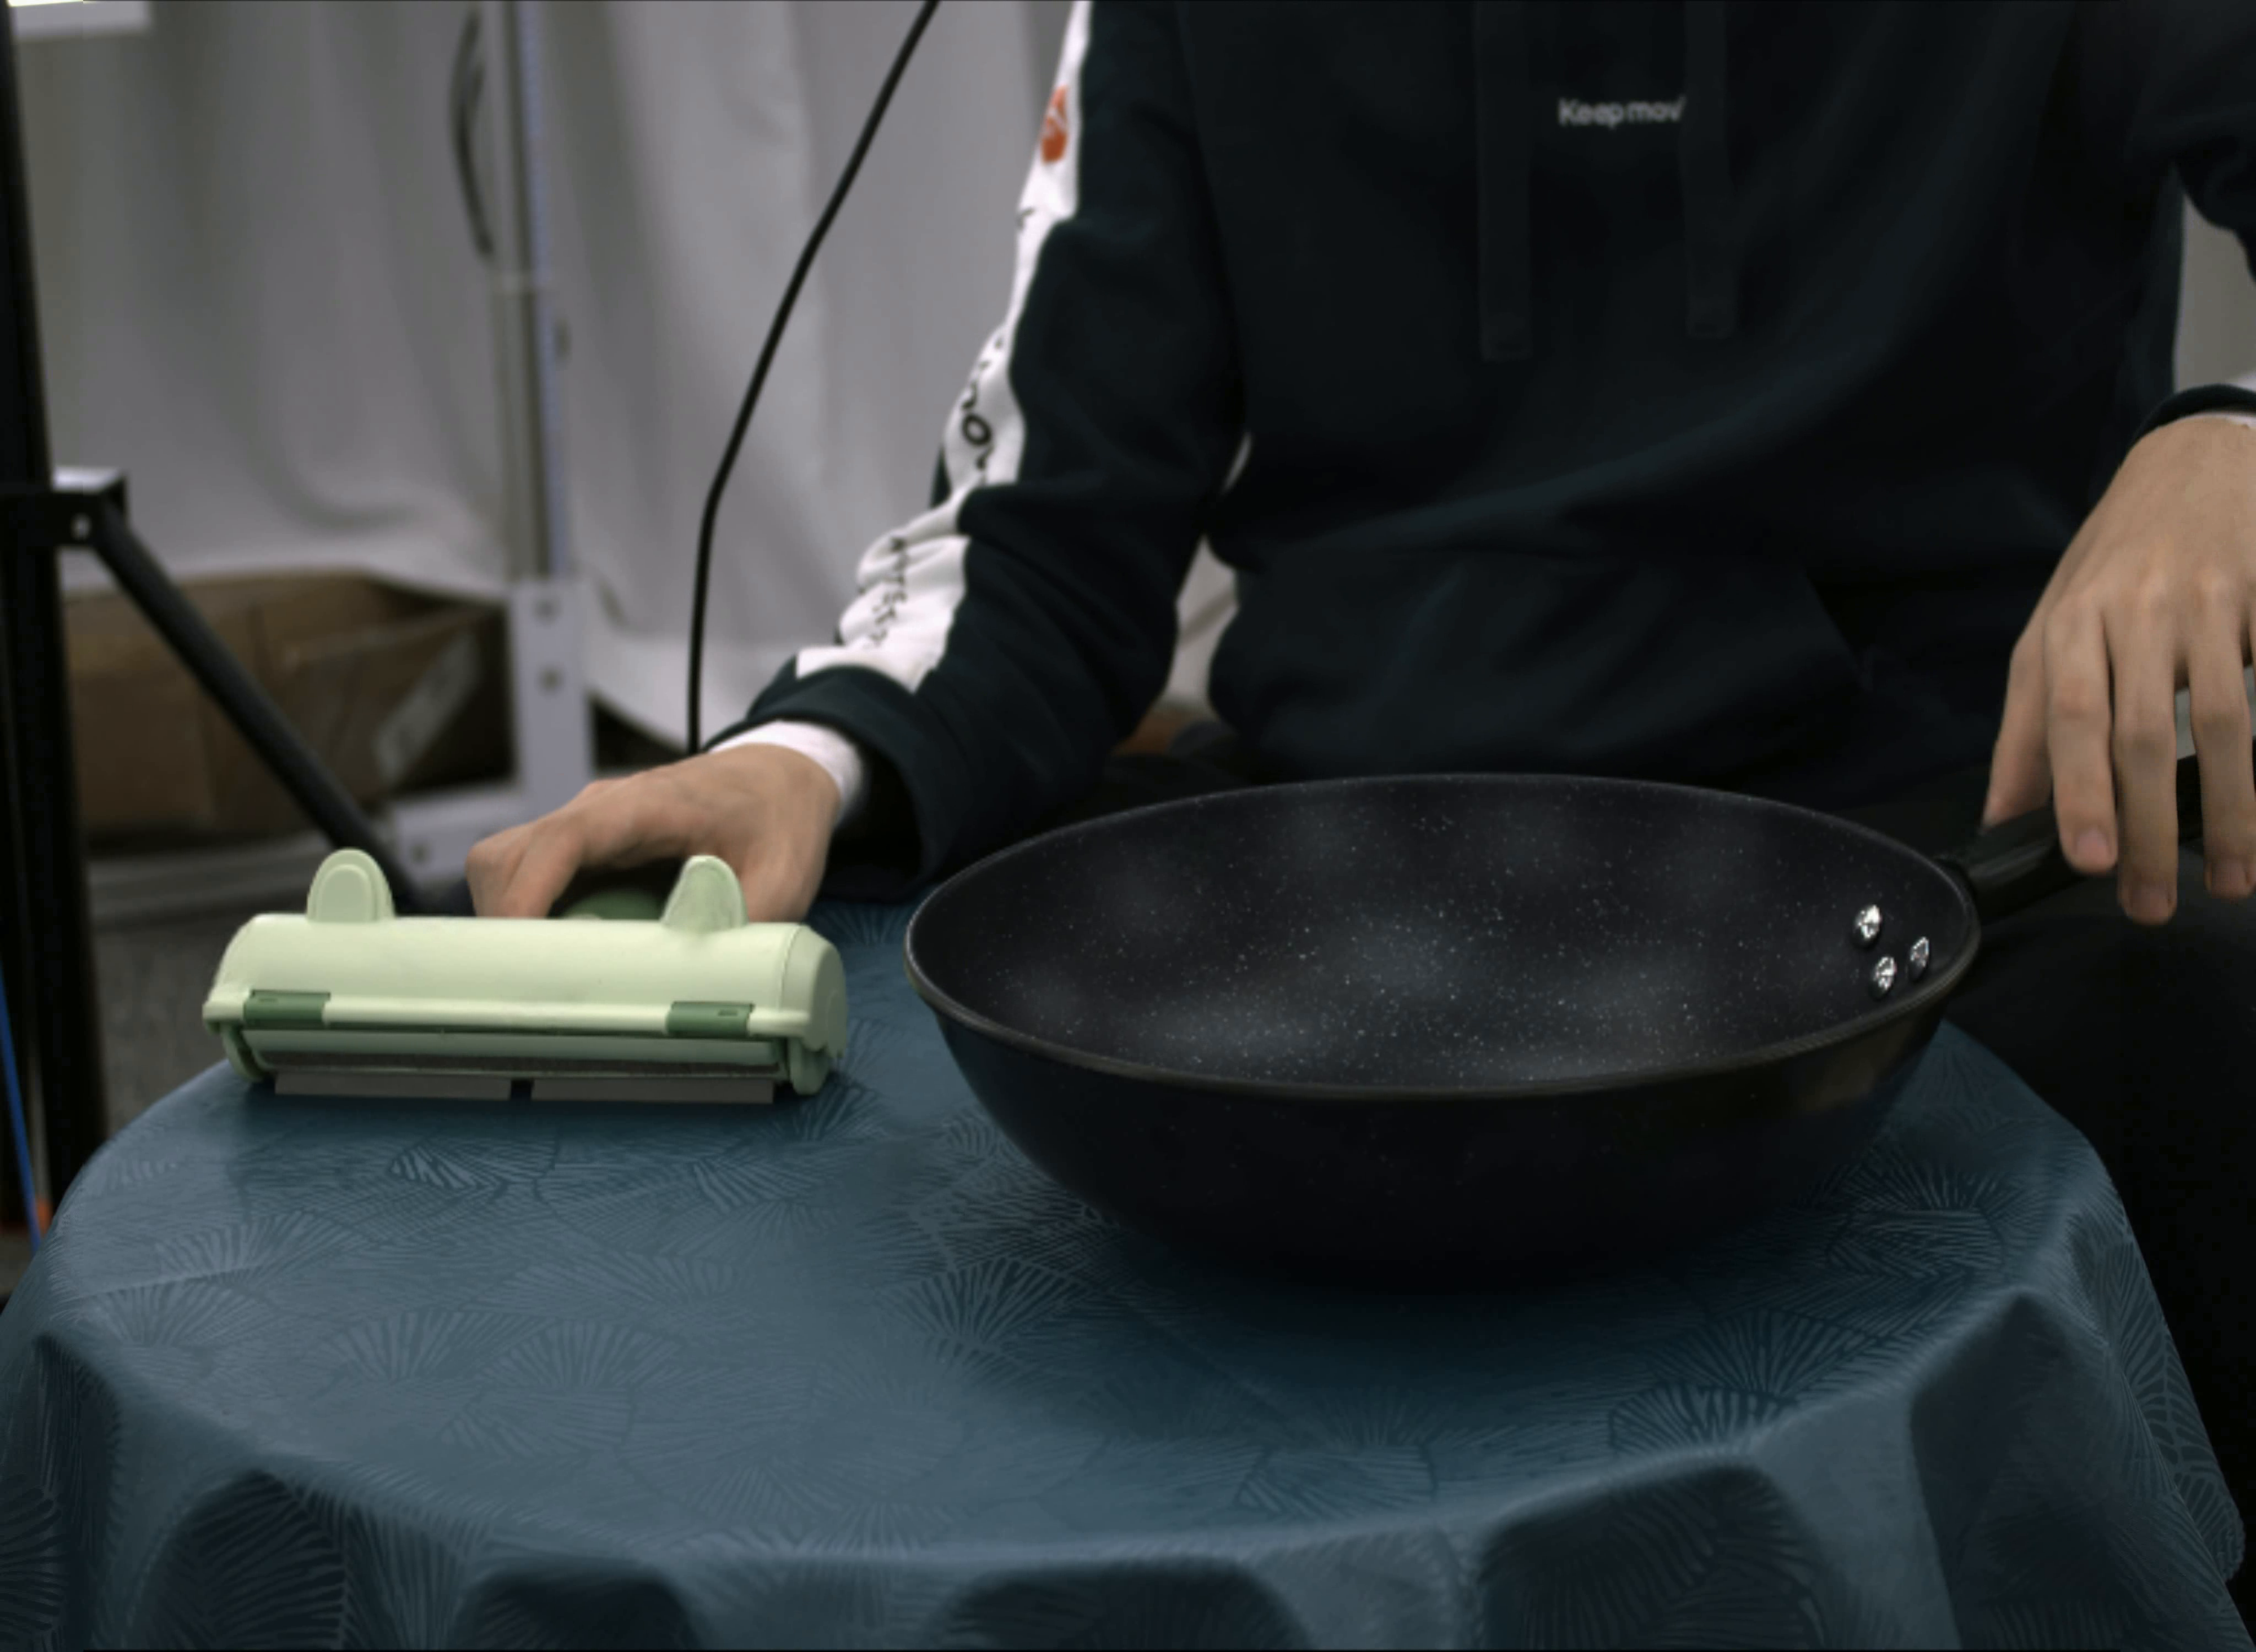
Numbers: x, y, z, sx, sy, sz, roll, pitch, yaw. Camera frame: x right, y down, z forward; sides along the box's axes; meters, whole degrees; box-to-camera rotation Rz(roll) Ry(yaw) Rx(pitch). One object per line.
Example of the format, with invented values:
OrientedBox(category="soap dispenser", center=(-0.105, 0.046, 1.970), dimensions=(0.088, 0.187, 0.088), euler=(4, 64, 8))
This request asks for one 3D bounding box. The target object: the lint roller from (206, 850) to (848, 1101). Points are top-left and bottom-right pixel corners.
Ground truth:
OrientedBox(category="lint roller", center=(-0.178, 0.031, 1.726), dimensions=(0.200, 0.082, 0.182), euler=(0, 21, 12))

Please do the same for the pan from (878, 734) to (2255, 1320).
OrientedBox(category="pan", center=(0.163, 0.049, 1.543), dimensions=(0.470, 0.111, 0.315), euler=(-8, 18, -14))
